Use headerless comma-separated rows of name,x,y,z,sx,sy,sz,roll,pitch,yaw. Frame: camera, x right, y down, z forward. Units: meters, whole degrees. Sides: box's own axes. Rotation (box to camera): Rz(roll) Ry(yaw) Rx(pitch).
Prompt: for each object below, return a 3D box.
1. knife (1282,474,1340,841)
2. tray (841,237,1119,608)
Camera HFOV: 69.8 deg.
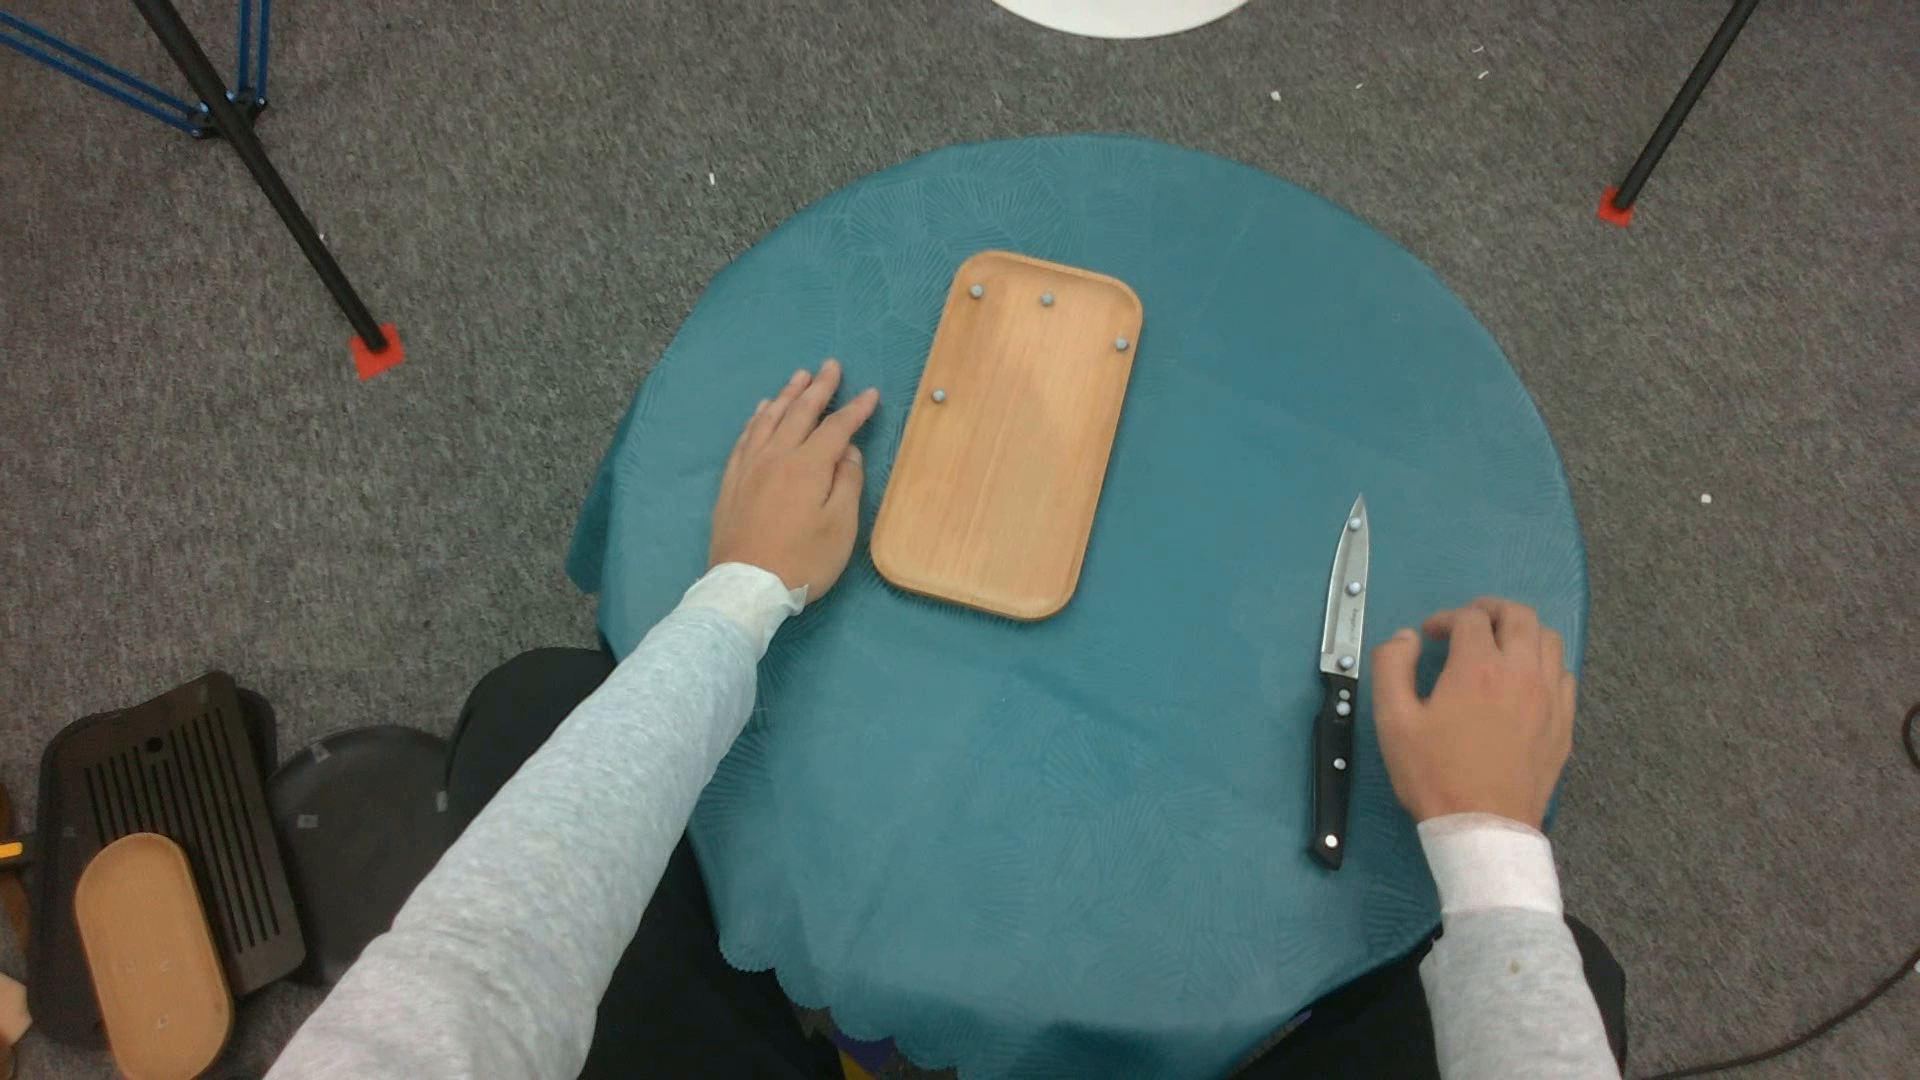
knife,0.210,0.063,0.811,0.024,0.016,0.239,11,62,2
tray,0.016,-0.079,0.862,0.130,0.023,0.251,14,66,6
